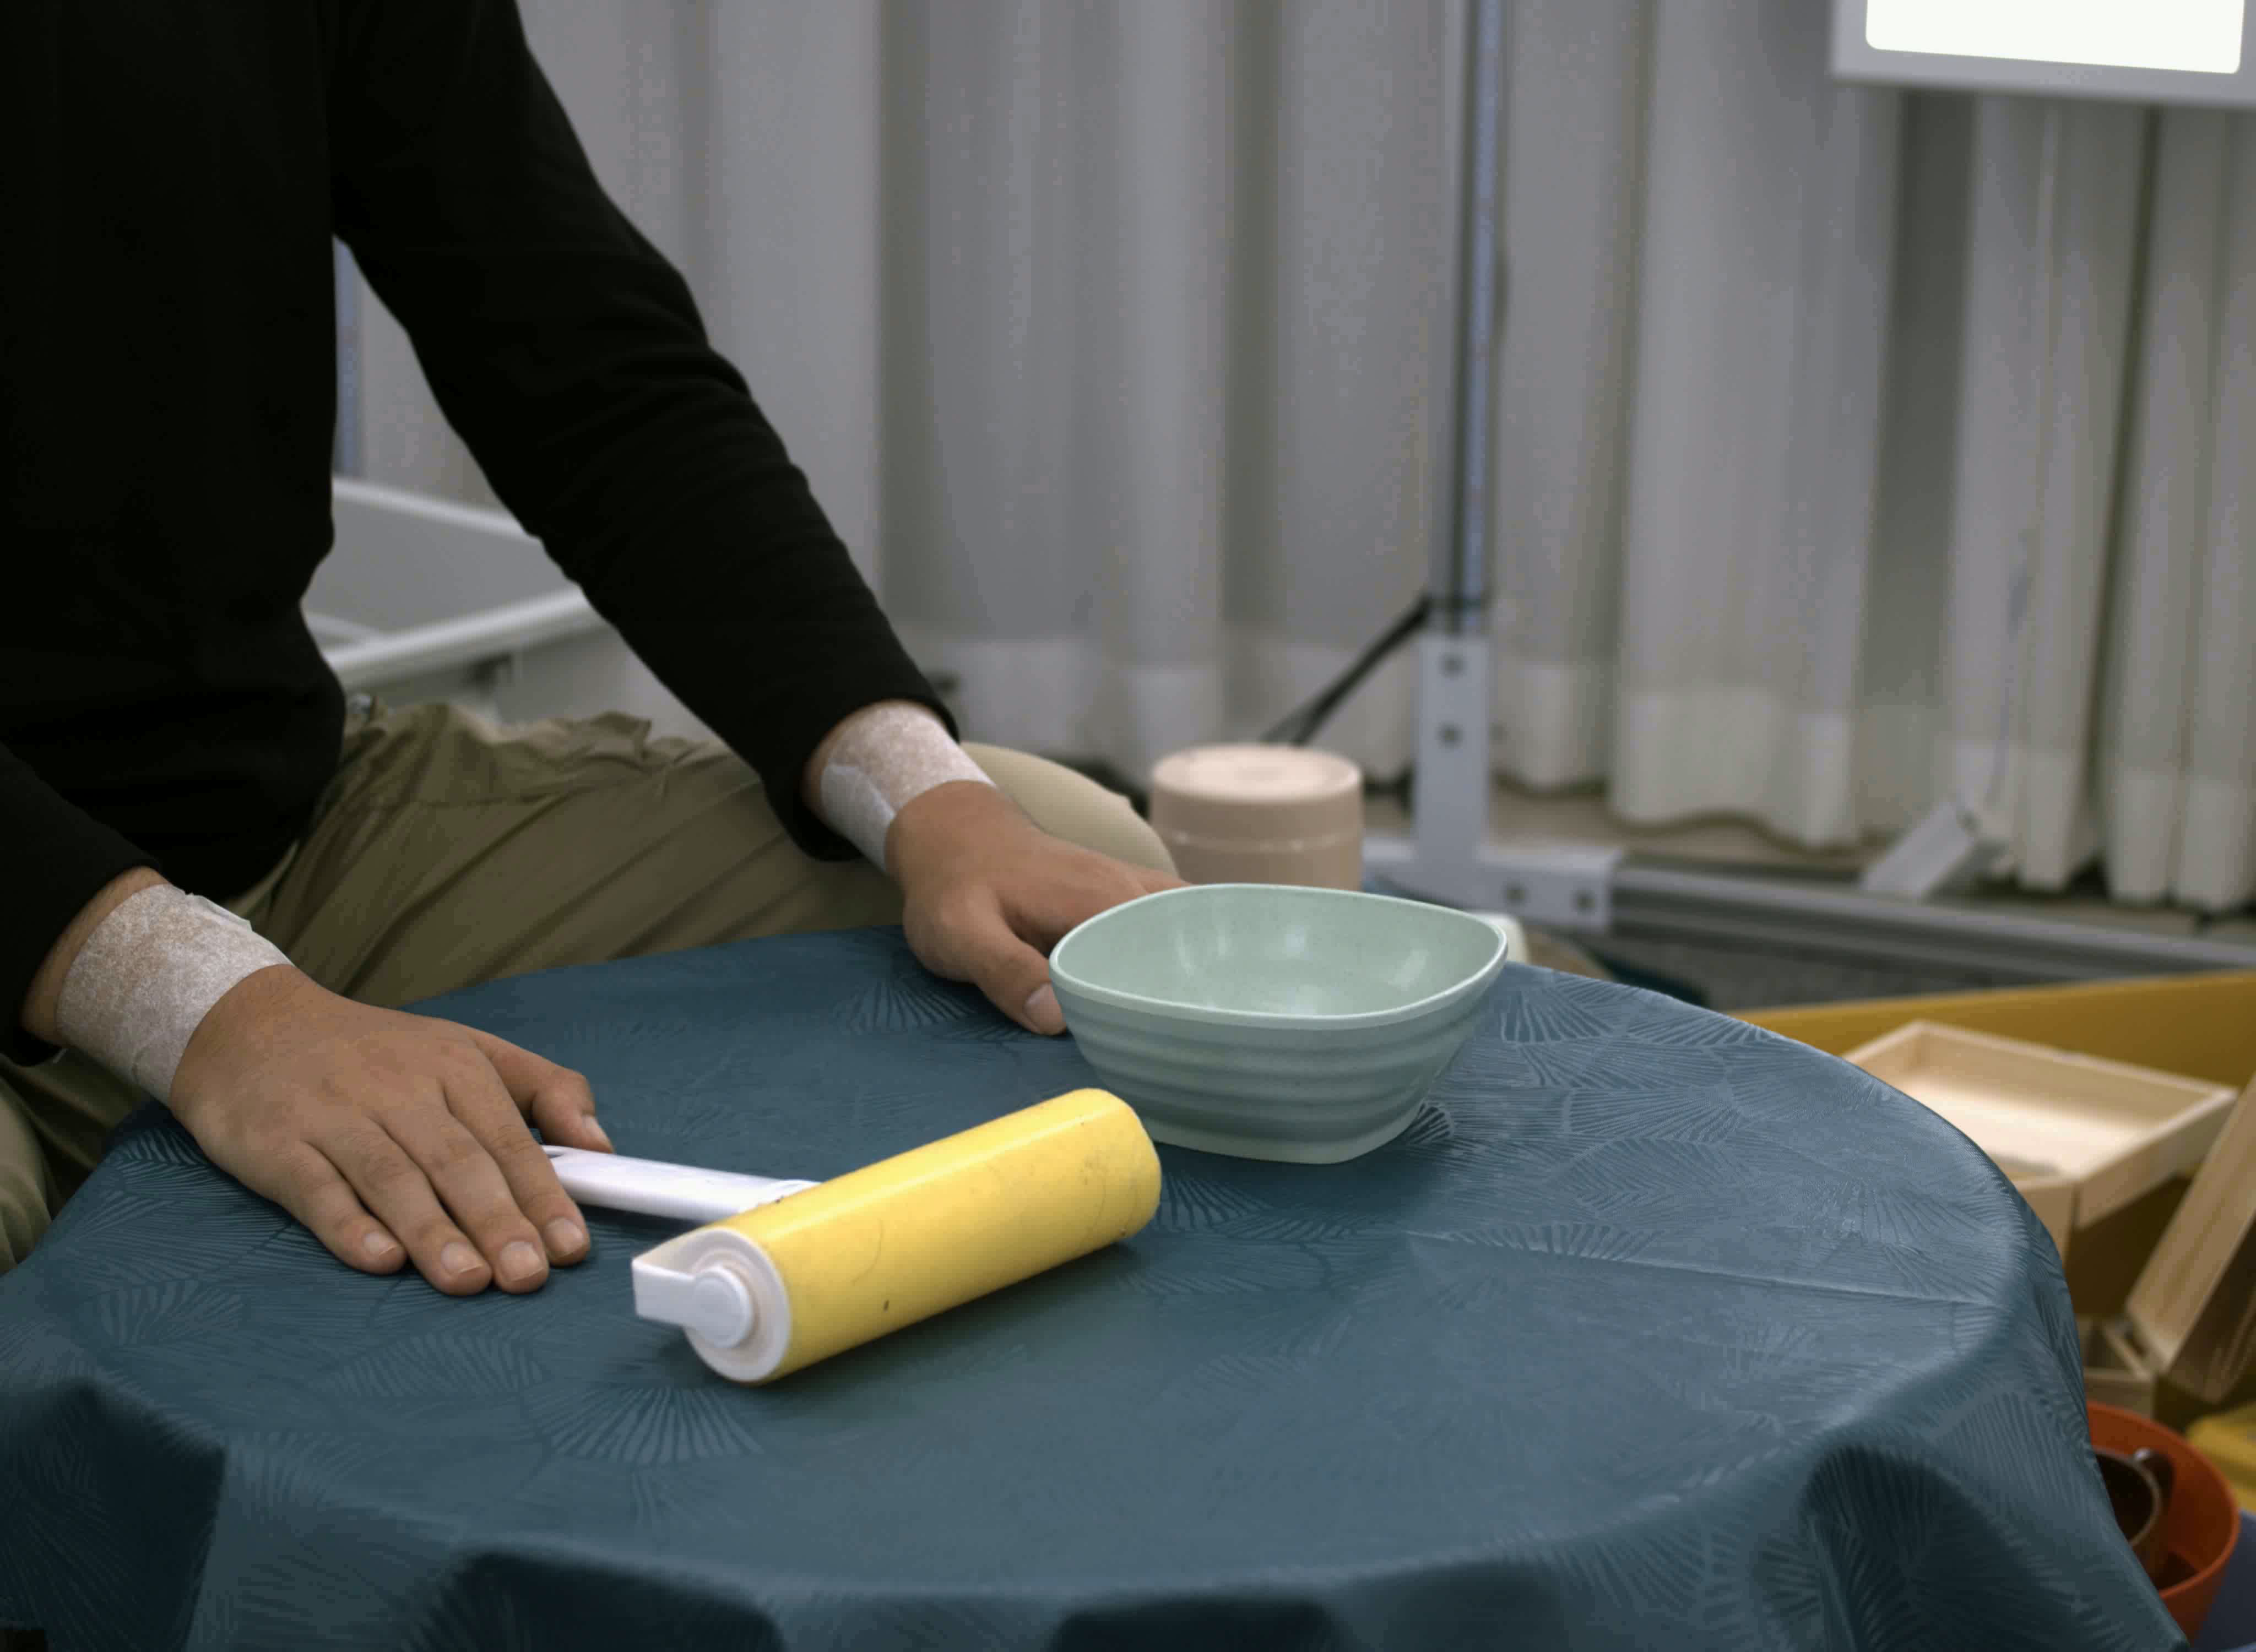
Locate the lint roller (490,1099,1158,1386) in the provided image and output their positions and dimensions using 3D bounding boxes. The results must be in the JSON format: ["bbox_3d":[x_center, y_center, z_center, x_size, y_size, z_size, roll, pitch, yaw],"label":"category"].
[{"bbox_3d":[-0.115,0.103,1.554,0.189,0.052,0.175,18,22,34],"label":"lint roller"}]

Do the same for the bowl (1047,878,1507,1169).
[{"bbox_3d":[0.047,0.066,1.683,0.151,0.059,0.150,2,17,0],"label":"bowl"}]
